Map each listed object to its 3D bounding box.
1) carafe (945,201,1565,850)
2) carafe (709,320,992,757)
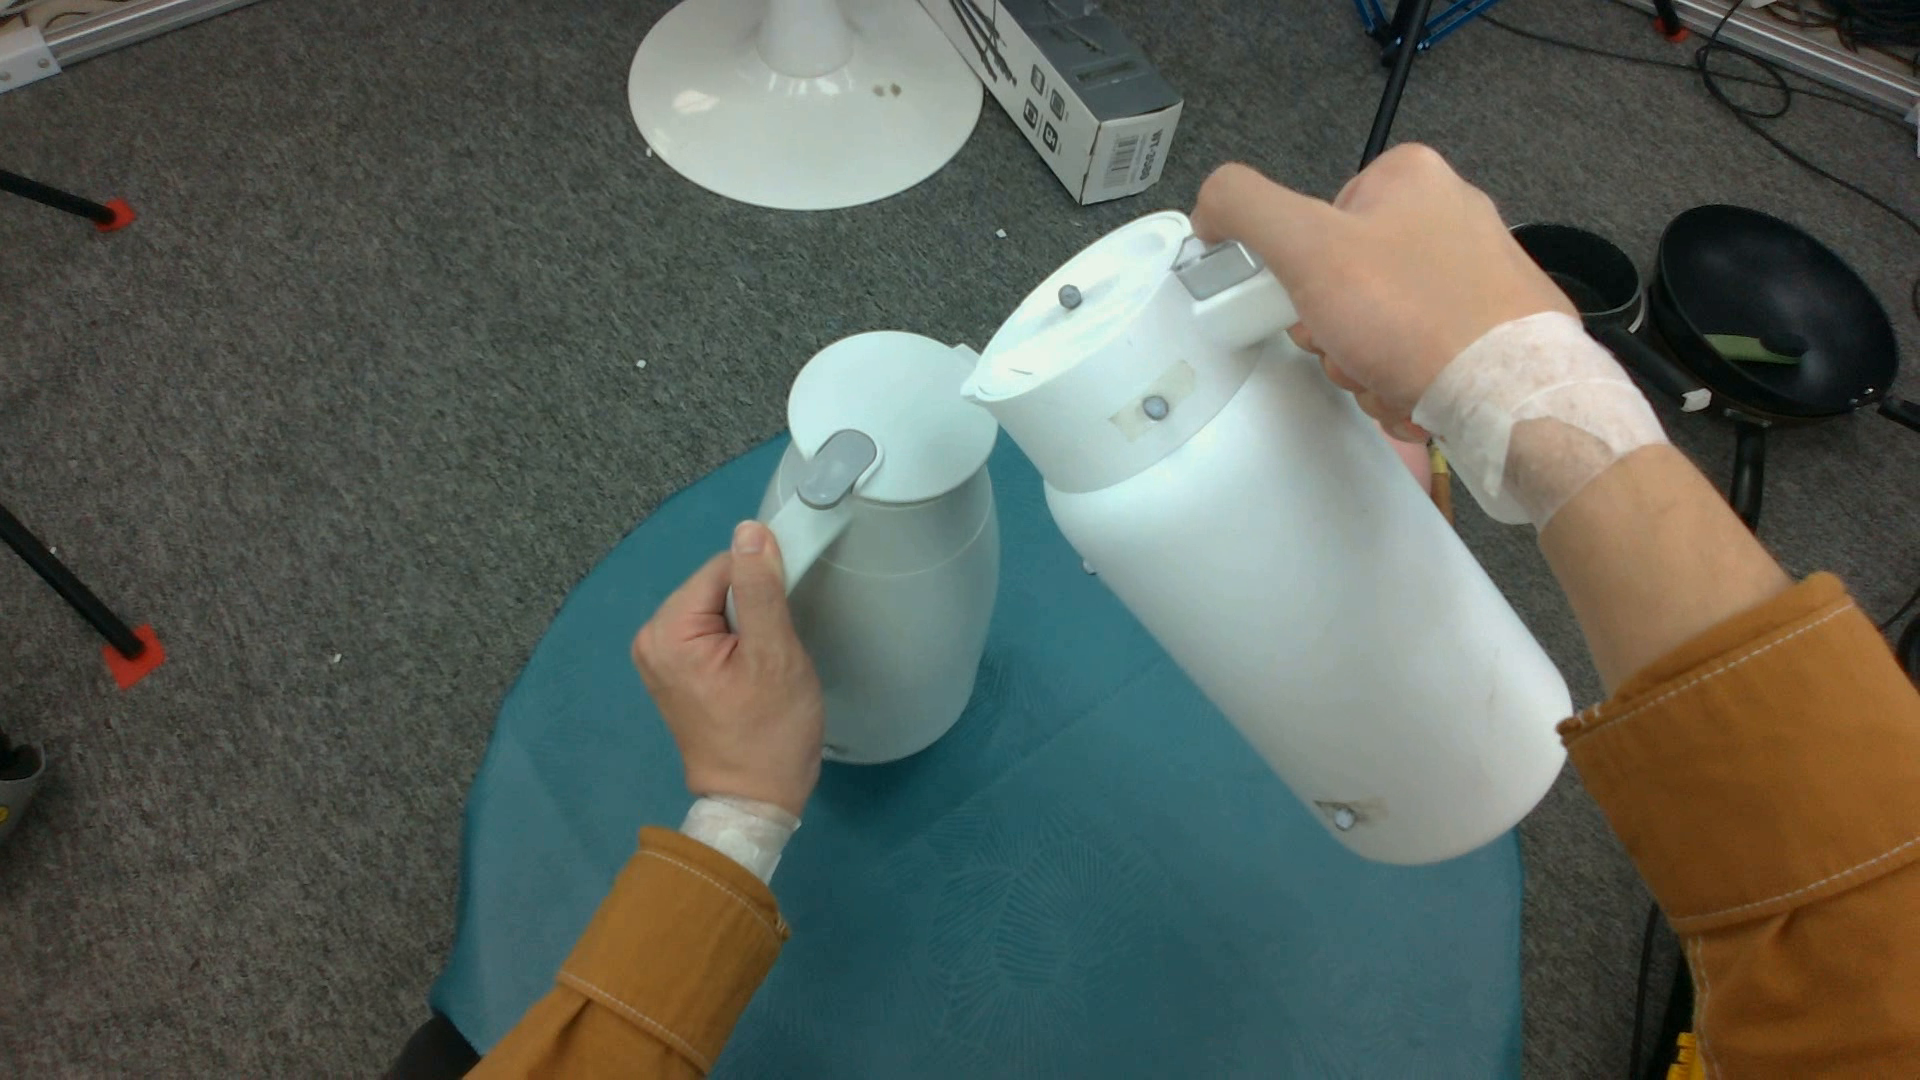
[{"bbox_3d":[0.135,-0.006,0.532,0.268,0.172,0.124,49,46,-21],"label":"carafe"},{"bbox_3d":[-0.057,0.014,0.681,0.132,0.247,0.168,36,61,13],"label":"carafe"}]
